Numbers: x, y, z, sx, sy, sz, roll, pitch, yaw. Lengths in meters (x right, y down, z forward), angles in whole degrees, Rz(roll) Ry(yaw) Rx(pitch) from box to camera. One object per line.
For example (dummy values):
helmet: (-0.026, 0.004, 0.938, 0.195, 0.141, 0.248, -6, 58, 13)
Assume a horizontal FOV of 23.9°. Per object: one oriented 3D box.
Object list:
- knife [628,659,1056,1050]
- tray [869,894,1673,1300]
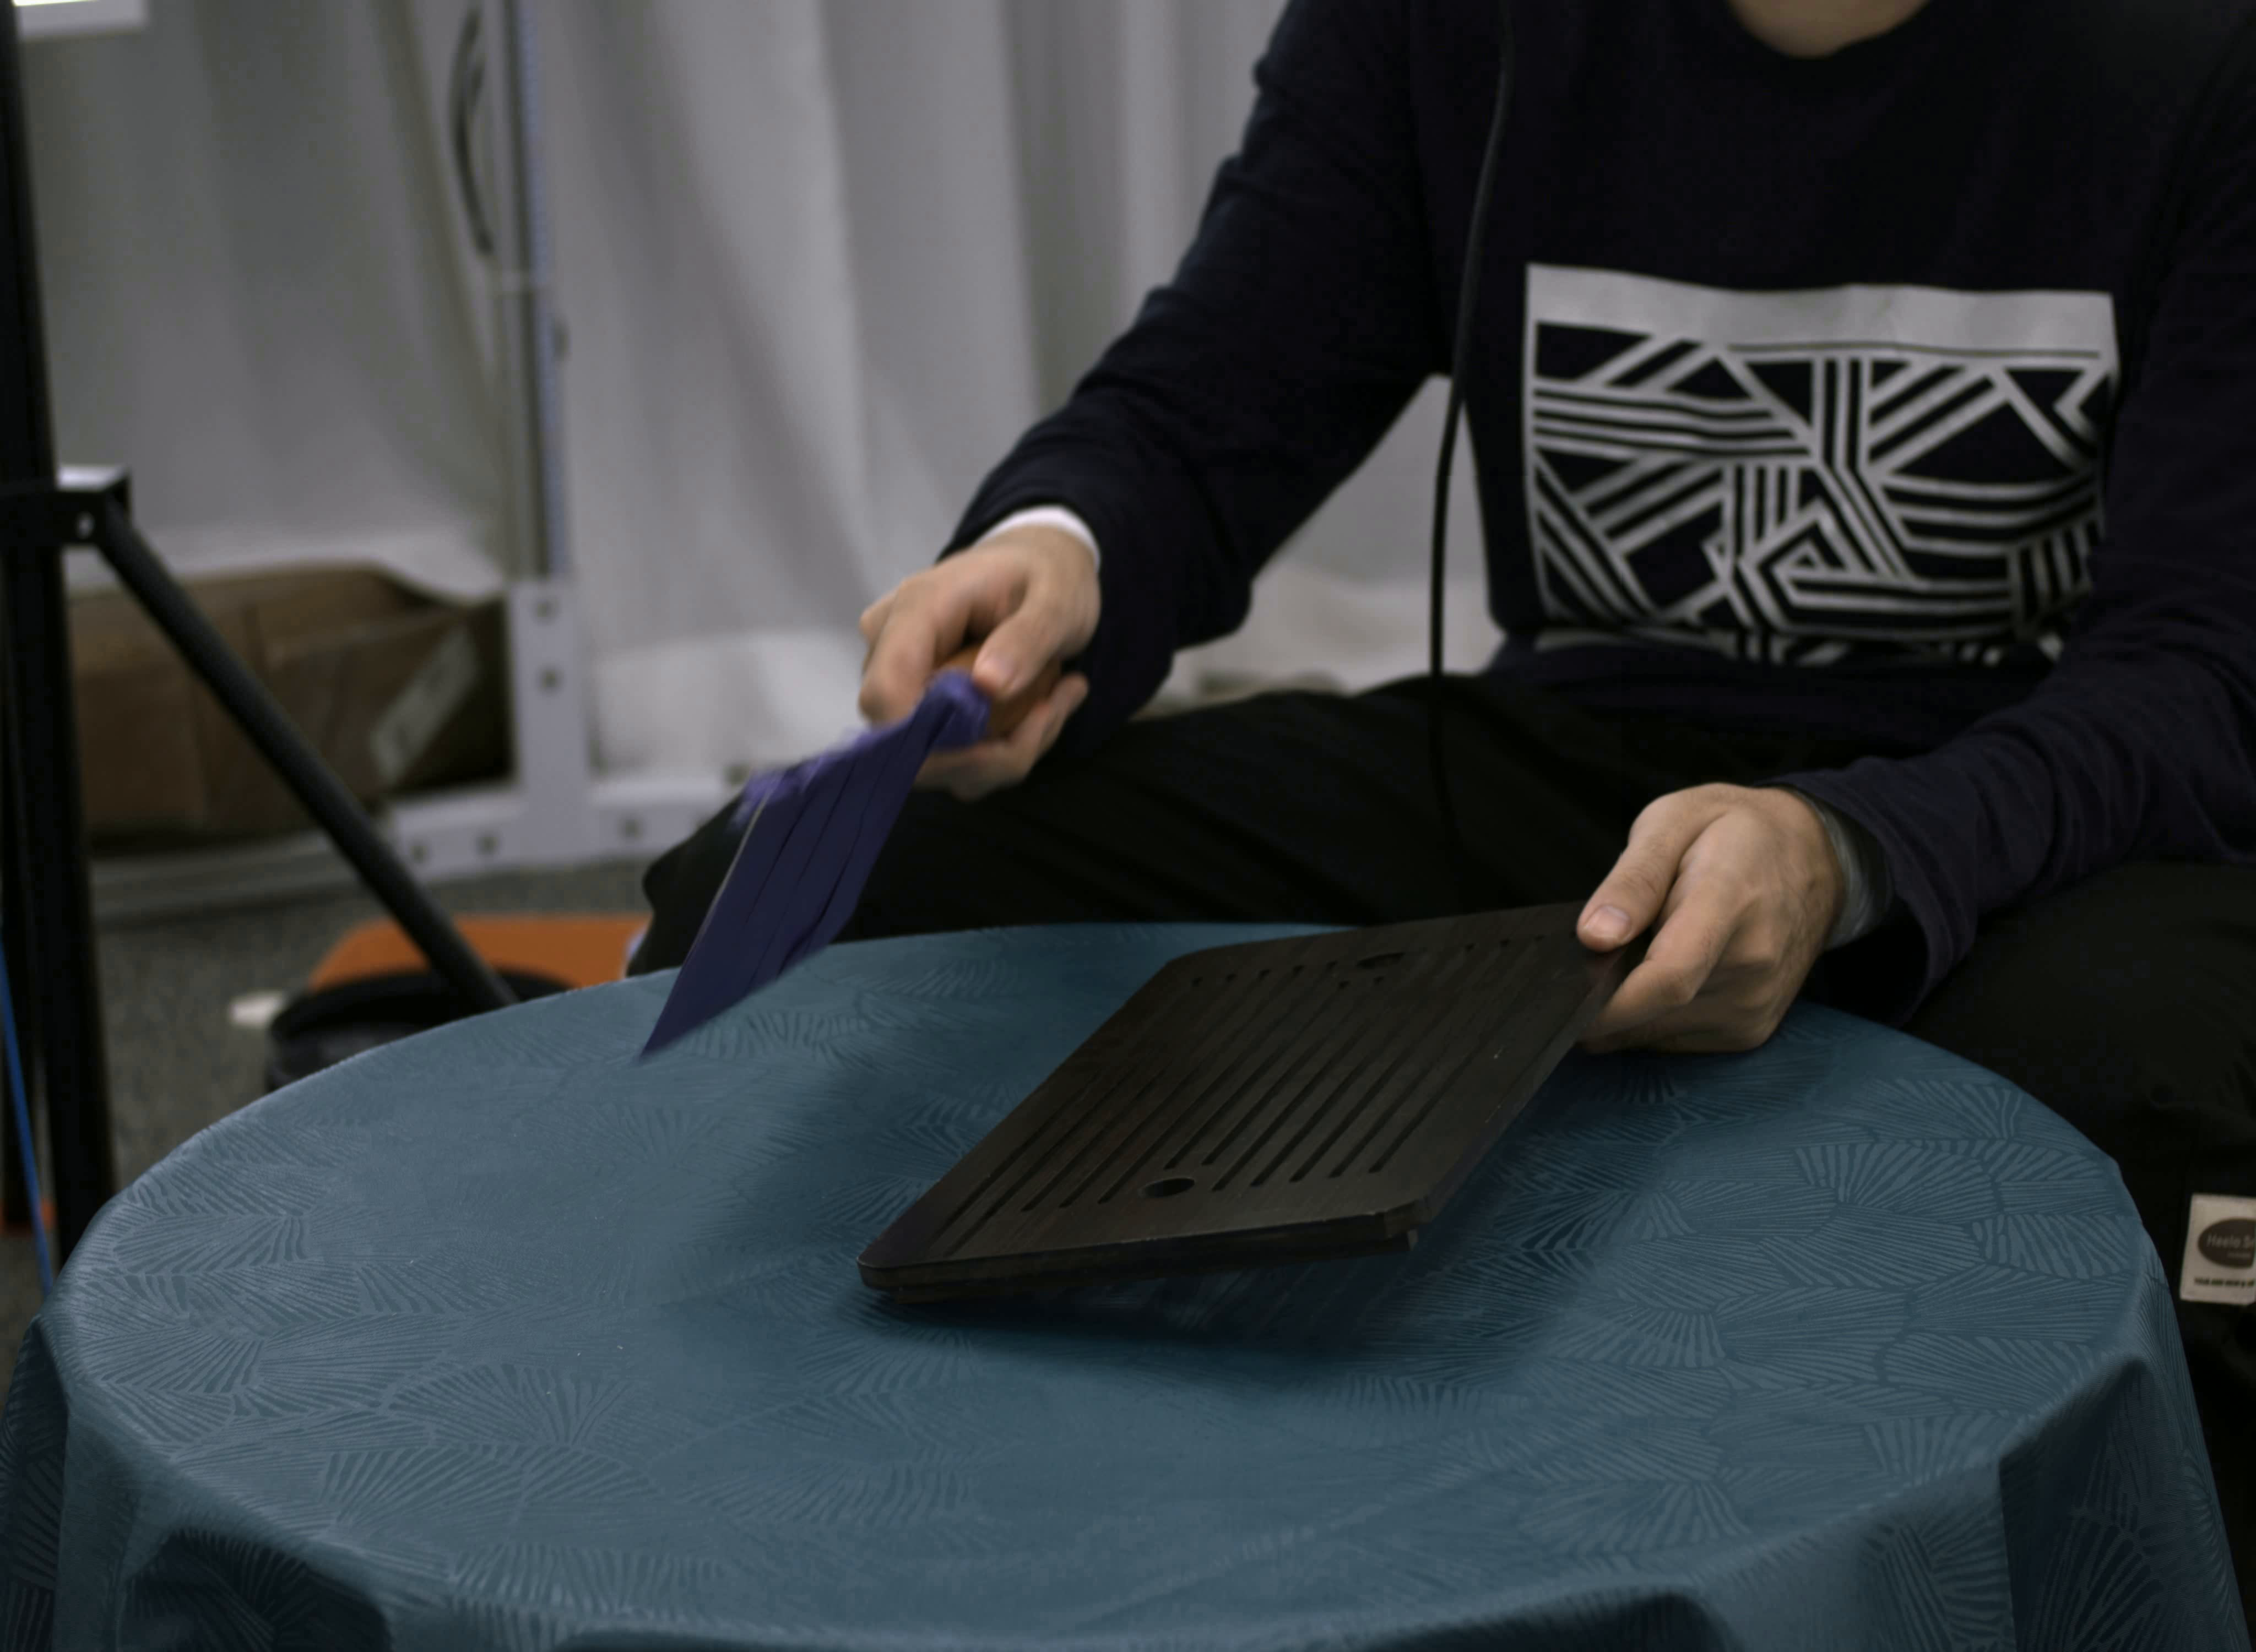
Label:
knife: (-0.090, 0.006, 1.656, 0.032, 0.104, 0.311, 29, 15, 10)
tray: (0.051, 0.079, 1.571, 0.172, 0.018, 0.302, -8, 13, 21)
